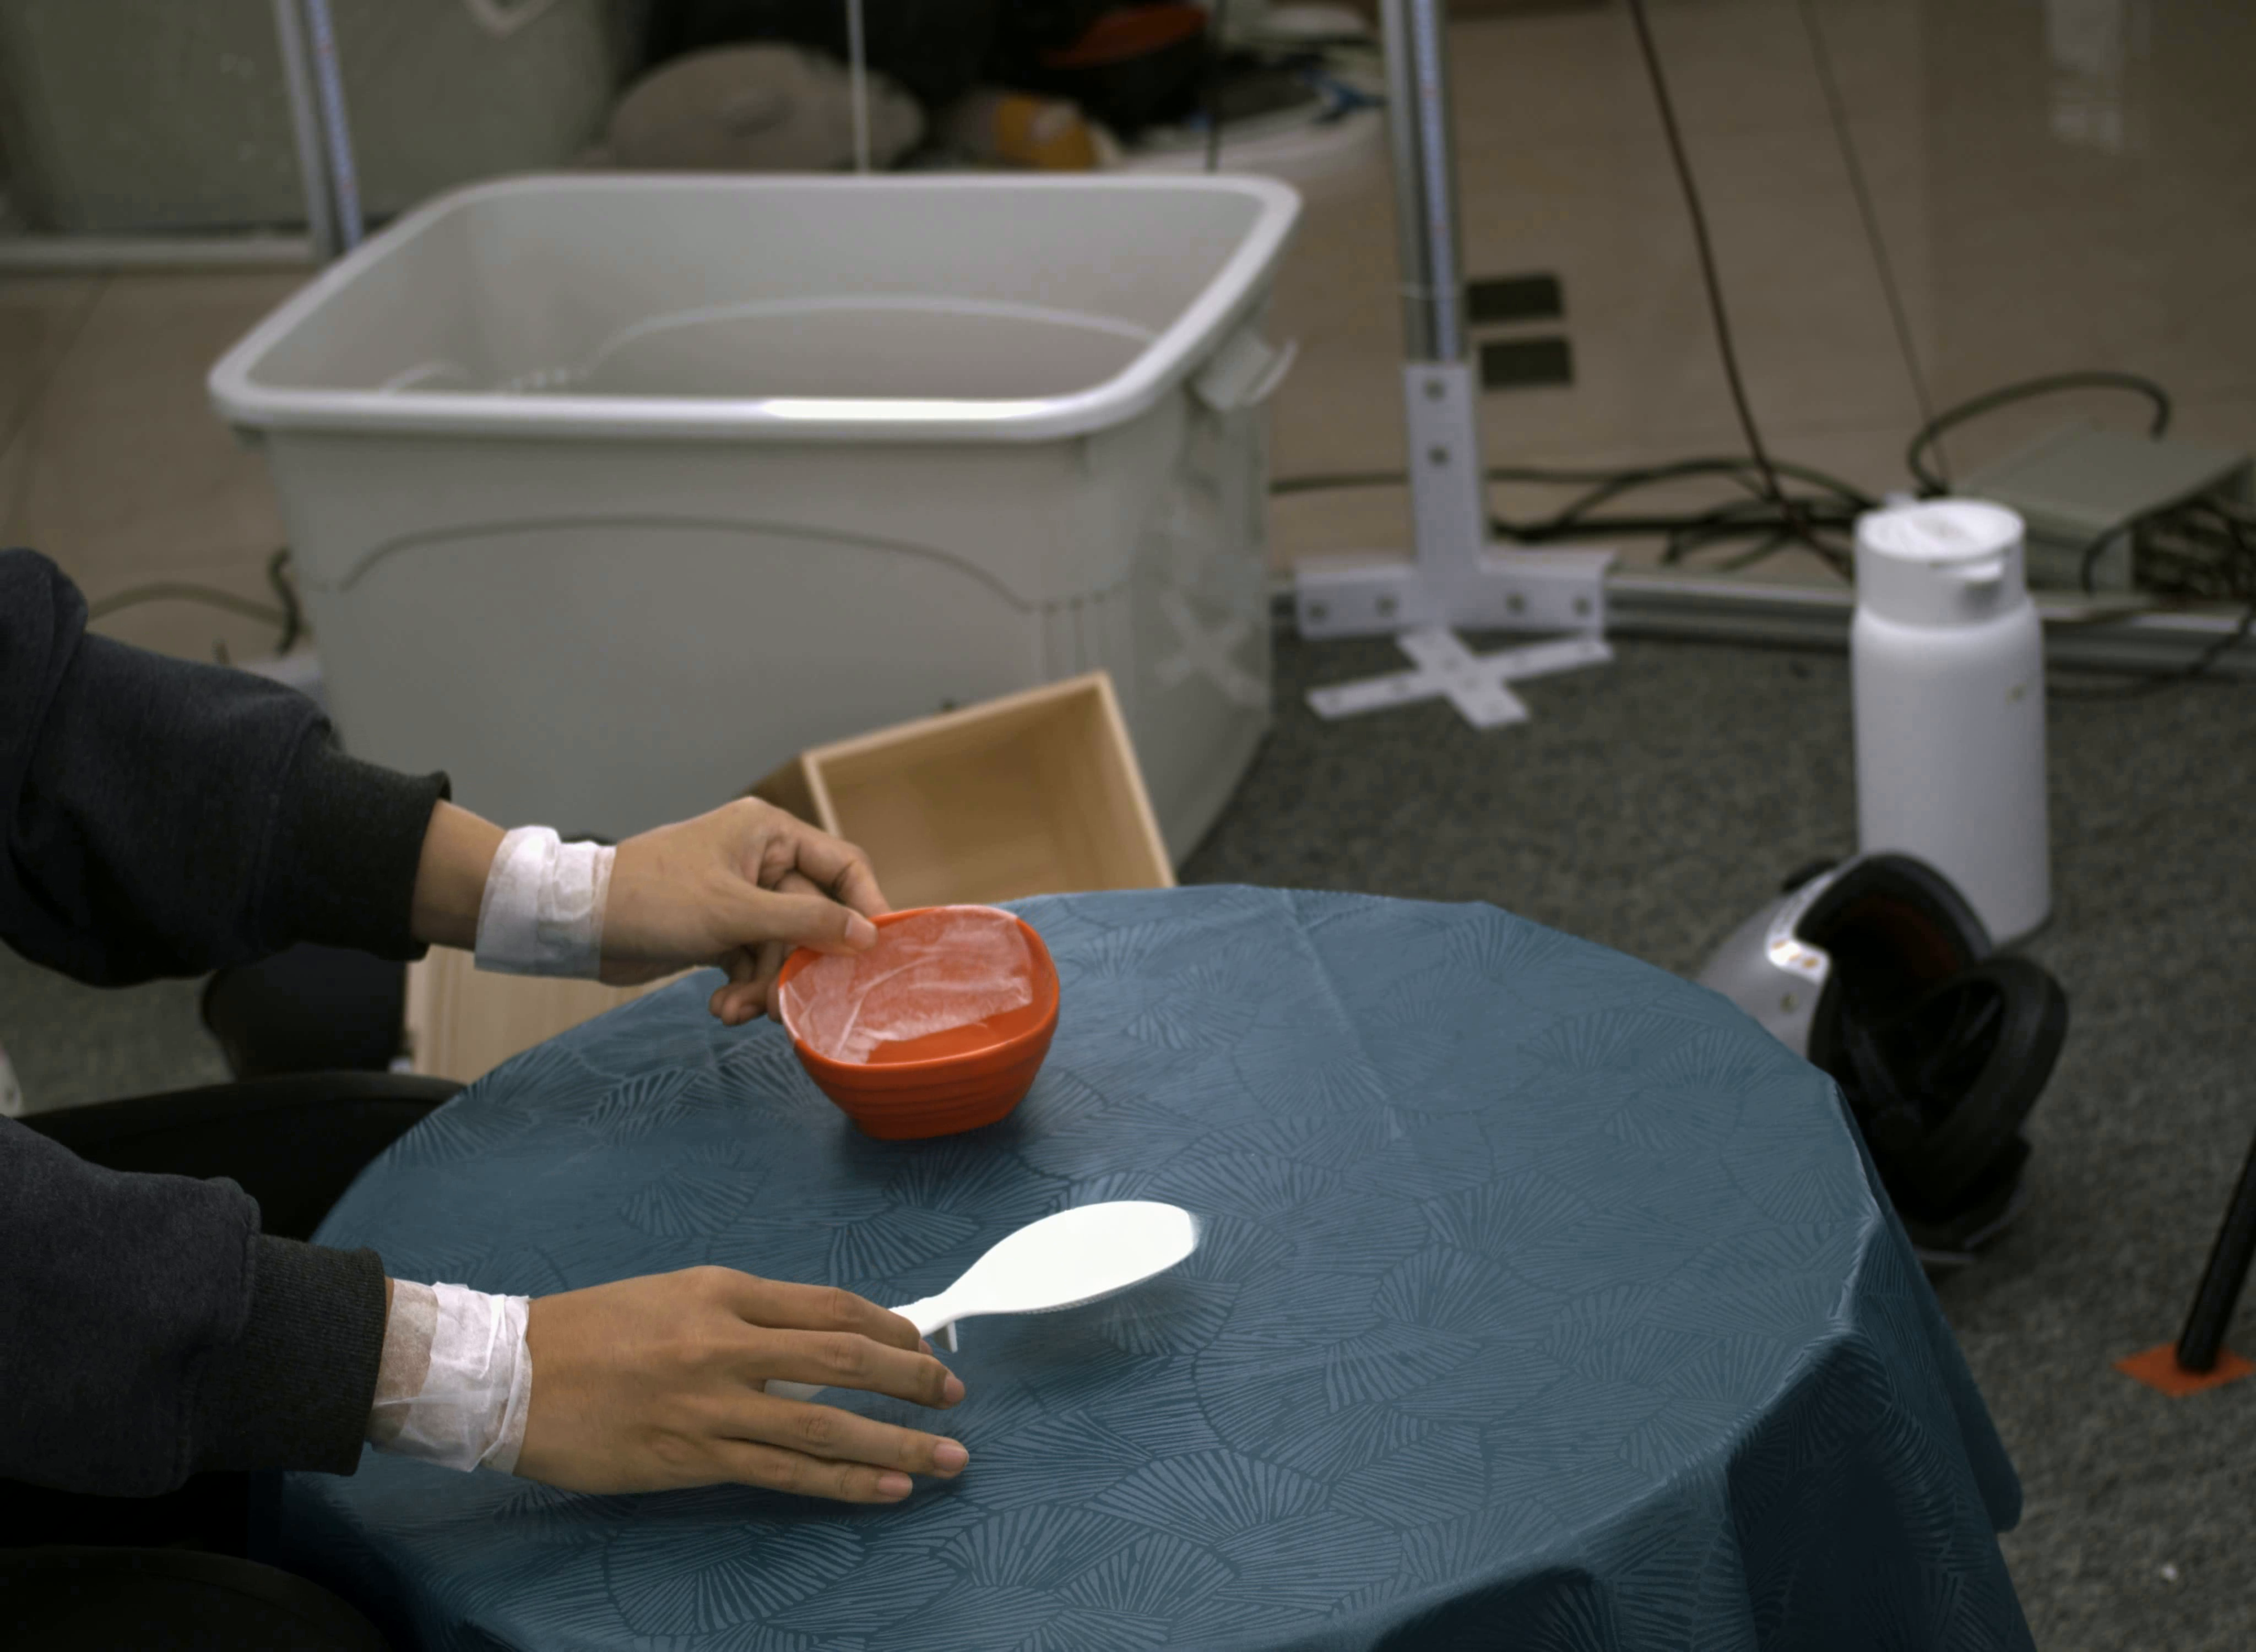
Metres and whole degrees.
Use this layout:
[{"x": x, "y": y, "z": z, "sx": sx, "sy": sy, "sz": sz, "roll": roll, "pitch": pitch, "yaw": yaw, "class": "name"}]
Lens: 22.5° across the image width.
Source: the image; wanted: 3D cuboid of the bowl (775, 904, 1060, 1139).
[{"x": -0.081, "y": 0.082, "z": 2.216, "sx": 0.119, "sy": 0.052, "sz": 0.117, "roll": -3, "pitch": 33, "yaw": 2, "class": "bowl"}]

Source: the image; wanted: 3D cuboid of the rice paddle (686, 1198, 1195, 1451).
[{"x": -0.064, "y": 0.170, "z": 2.022, "sx": 0.204, "sy": 0.030, "sz": 0.068, "roll": -21, "pitch": 27, "yaw": -29, "class": "rice paddle"}]
